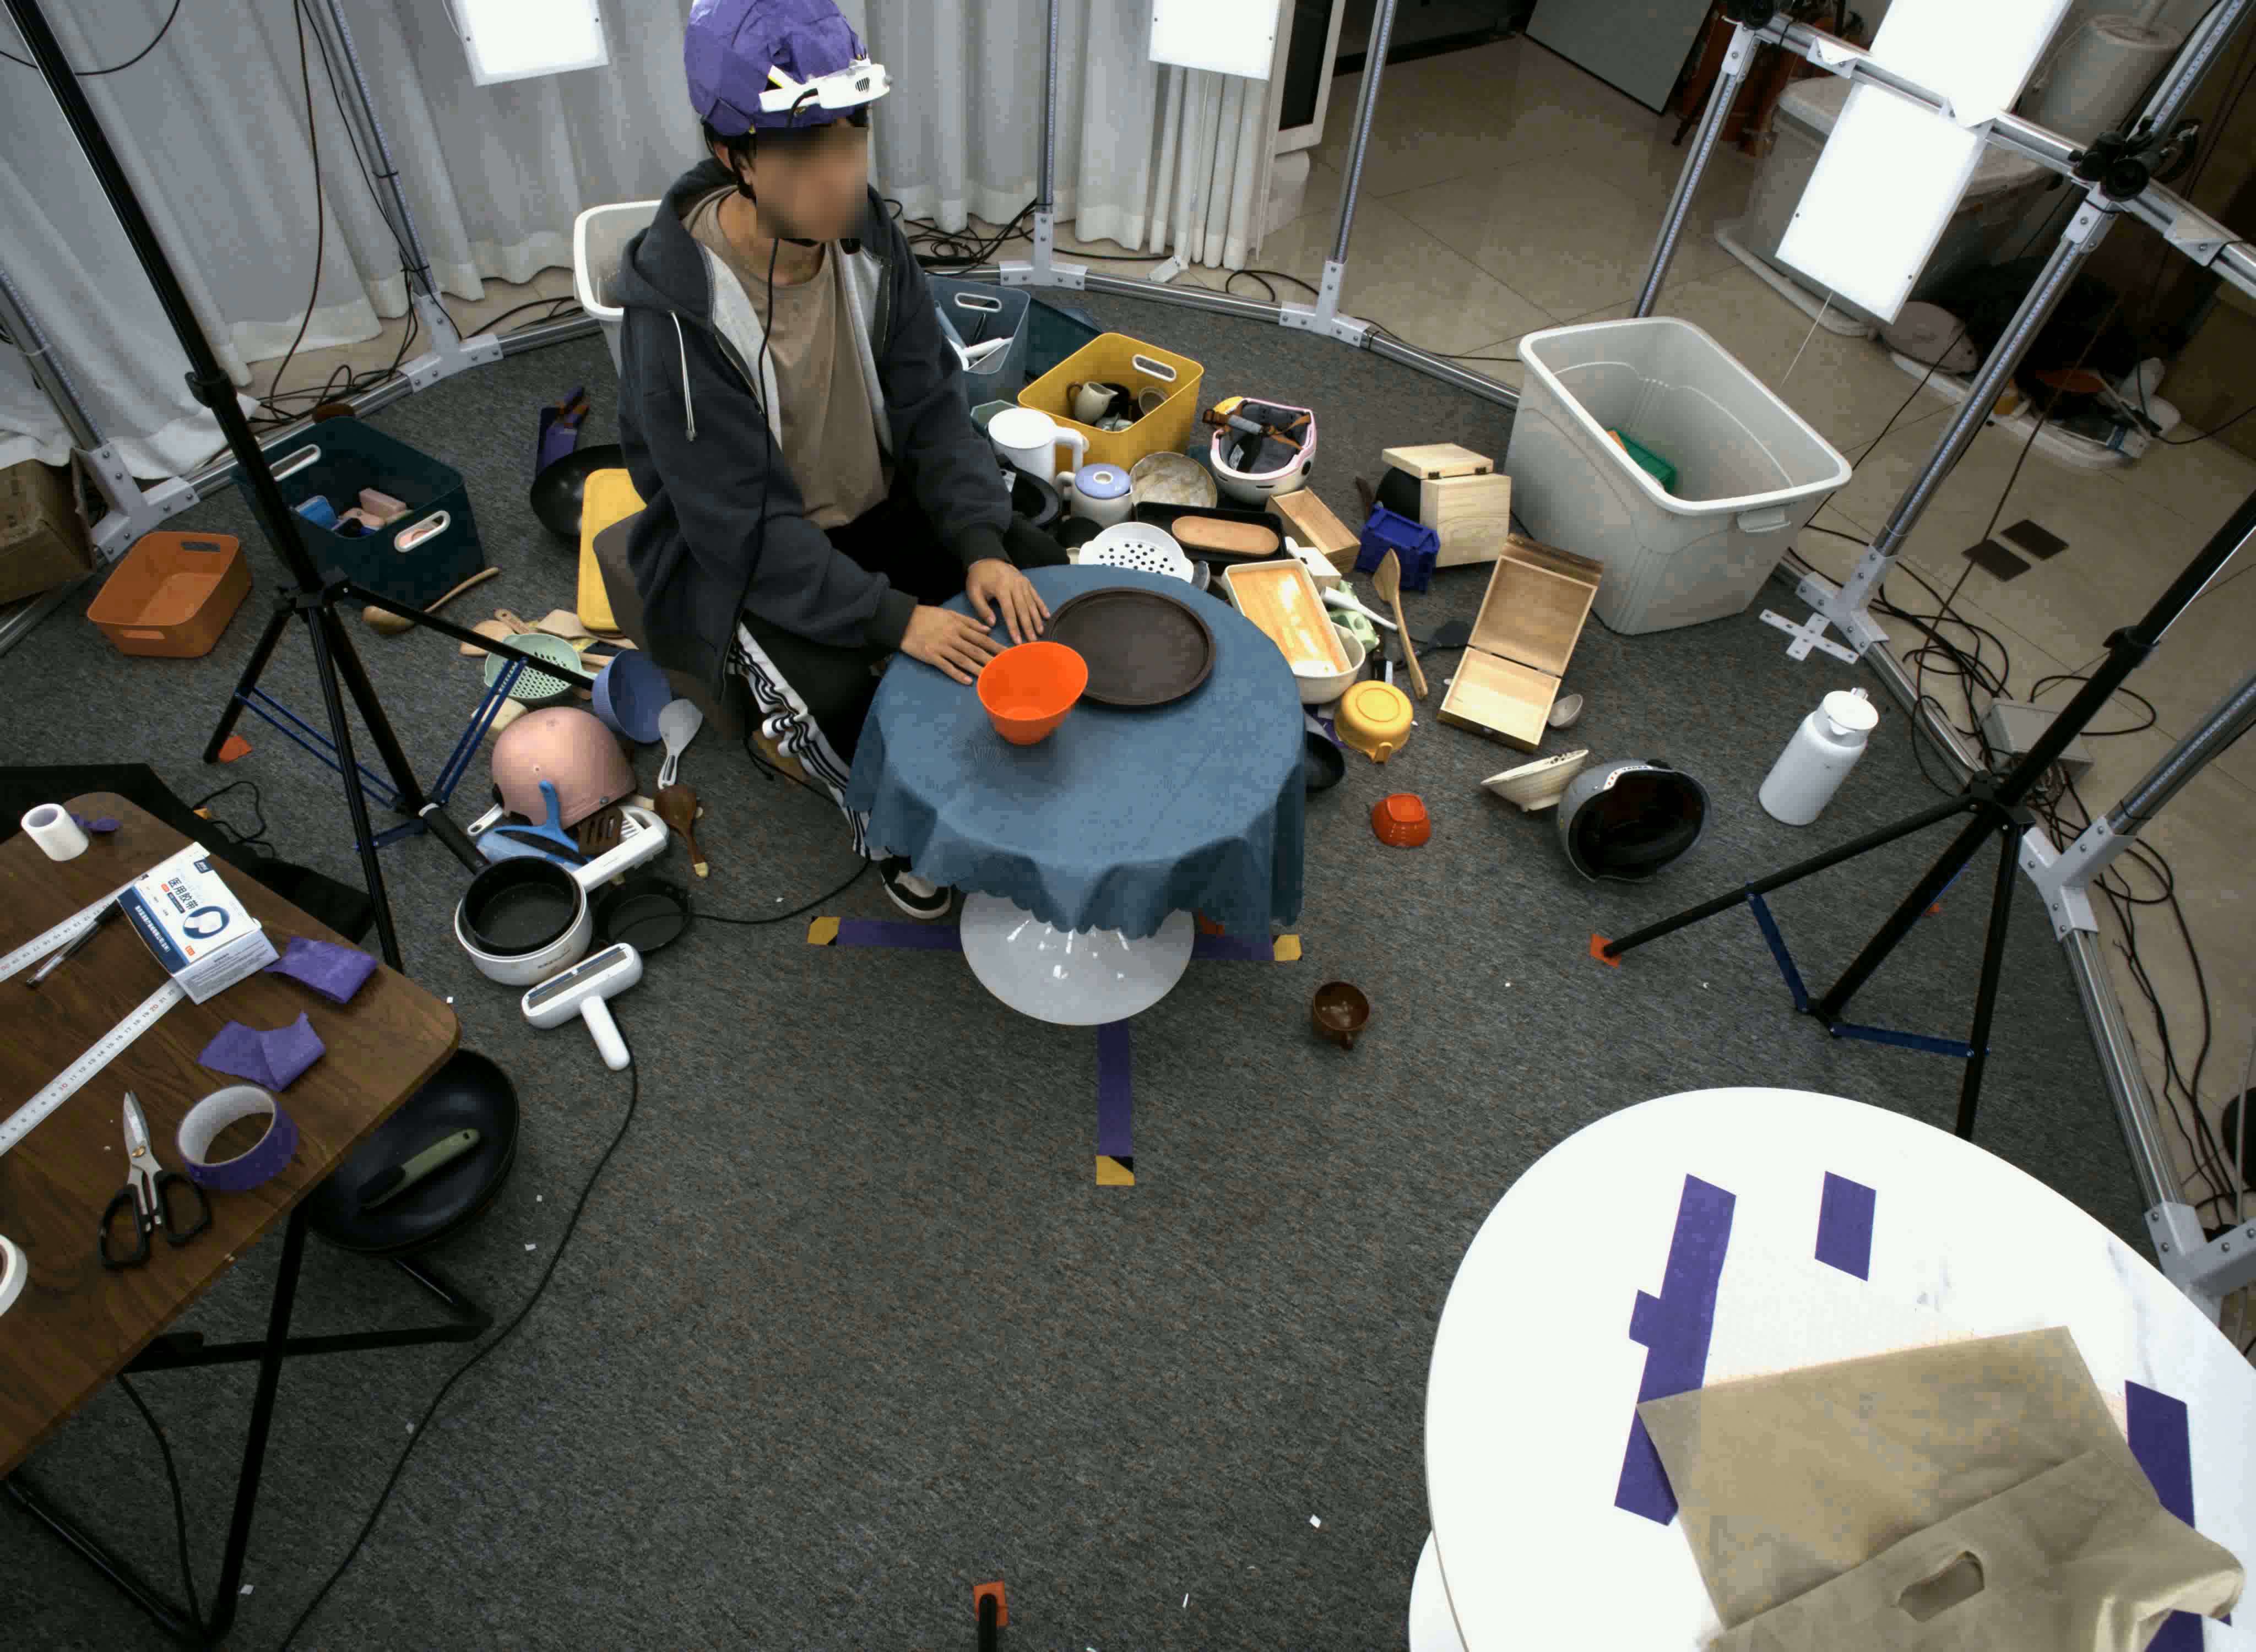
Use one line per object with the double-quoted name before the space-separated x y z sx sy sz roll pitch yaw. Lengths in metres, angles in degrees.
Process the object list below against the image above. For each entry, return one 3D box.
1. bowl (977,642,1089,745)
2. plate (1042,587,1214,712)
"bowl" -0.129 -0.168 1.738 0.148 0.102 0.152 2 51 -3
"plate" 0.001 -0.260 1.877 0.254 0.028 0.261 1 50 -2
